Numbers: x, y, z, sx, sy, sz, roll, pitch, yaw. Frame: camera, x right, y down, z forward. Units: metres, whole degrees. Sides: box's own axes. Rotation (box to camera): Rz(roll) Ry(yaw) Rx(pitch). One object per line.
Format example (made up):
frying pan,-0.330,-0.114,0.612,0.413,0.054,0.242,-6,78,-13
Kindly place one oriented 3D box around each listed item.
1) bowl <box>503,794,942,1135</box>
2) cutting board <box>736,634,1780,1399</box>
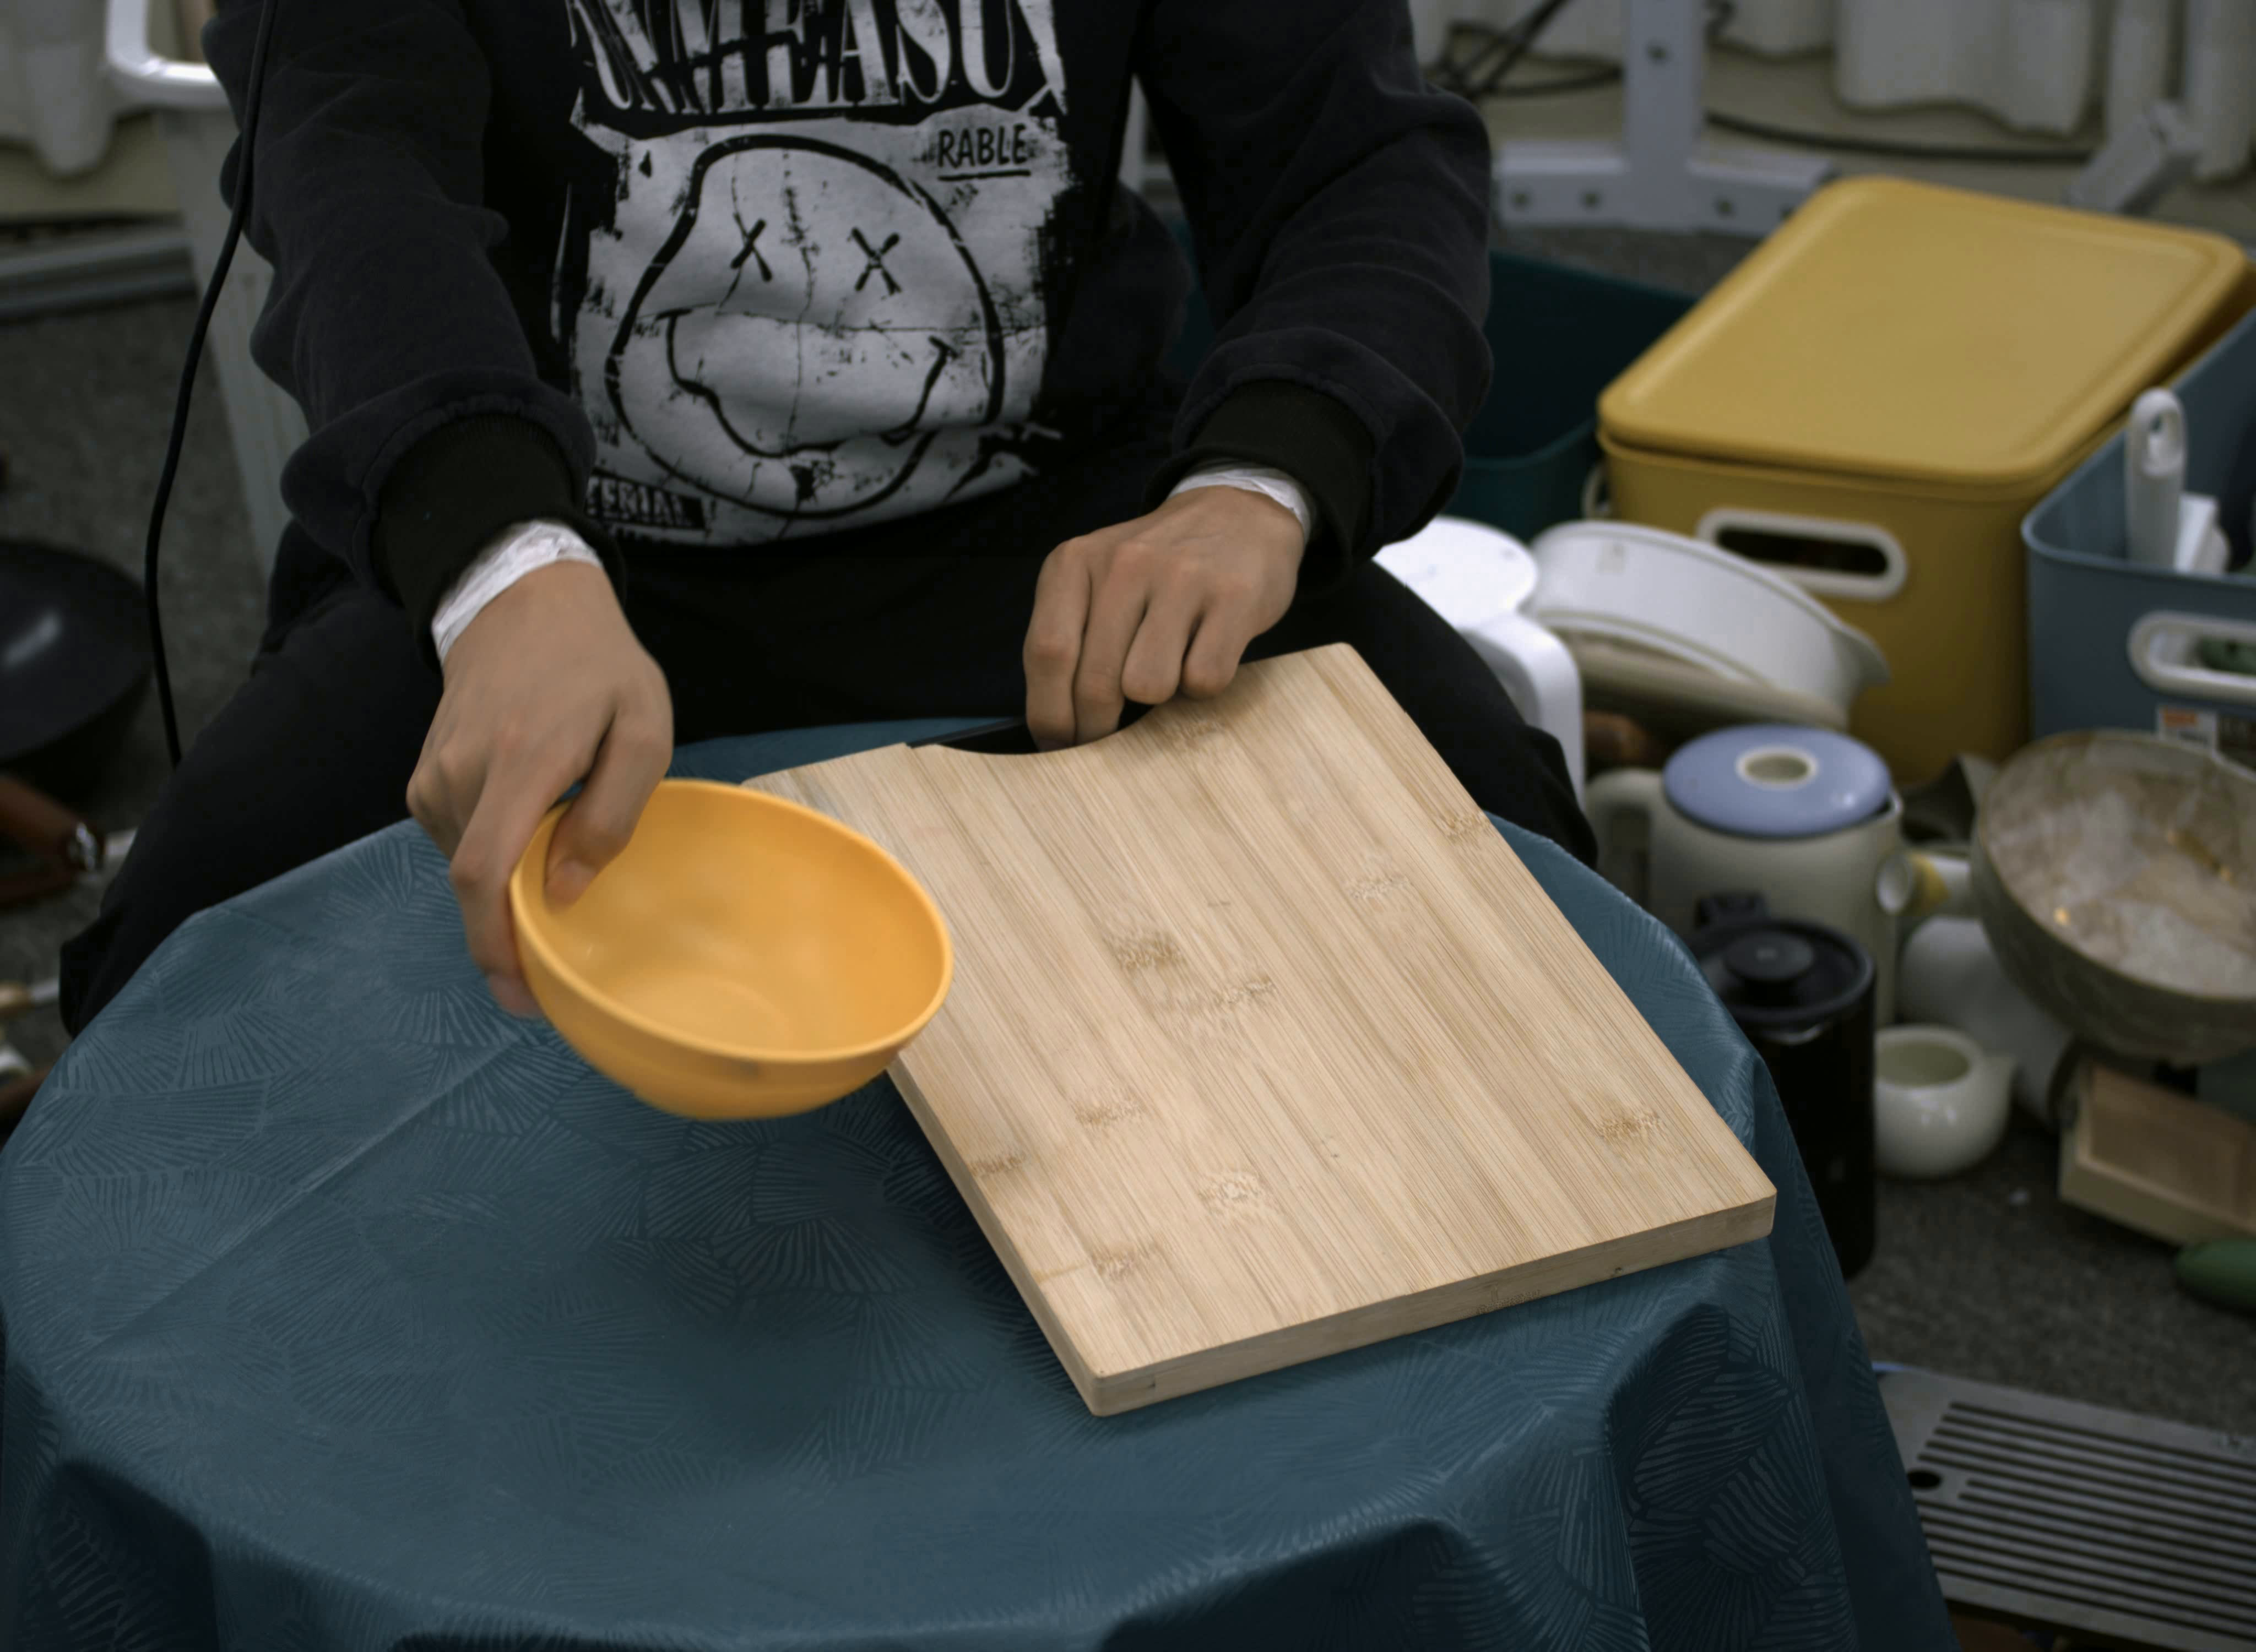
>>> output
bowl,-0.136,0.056,1.801,0.145,0.059,0.148,14,31,-8
cutting board,0.035,0.056,1.909,0.251,0.023,0.352,-13,38,-20
